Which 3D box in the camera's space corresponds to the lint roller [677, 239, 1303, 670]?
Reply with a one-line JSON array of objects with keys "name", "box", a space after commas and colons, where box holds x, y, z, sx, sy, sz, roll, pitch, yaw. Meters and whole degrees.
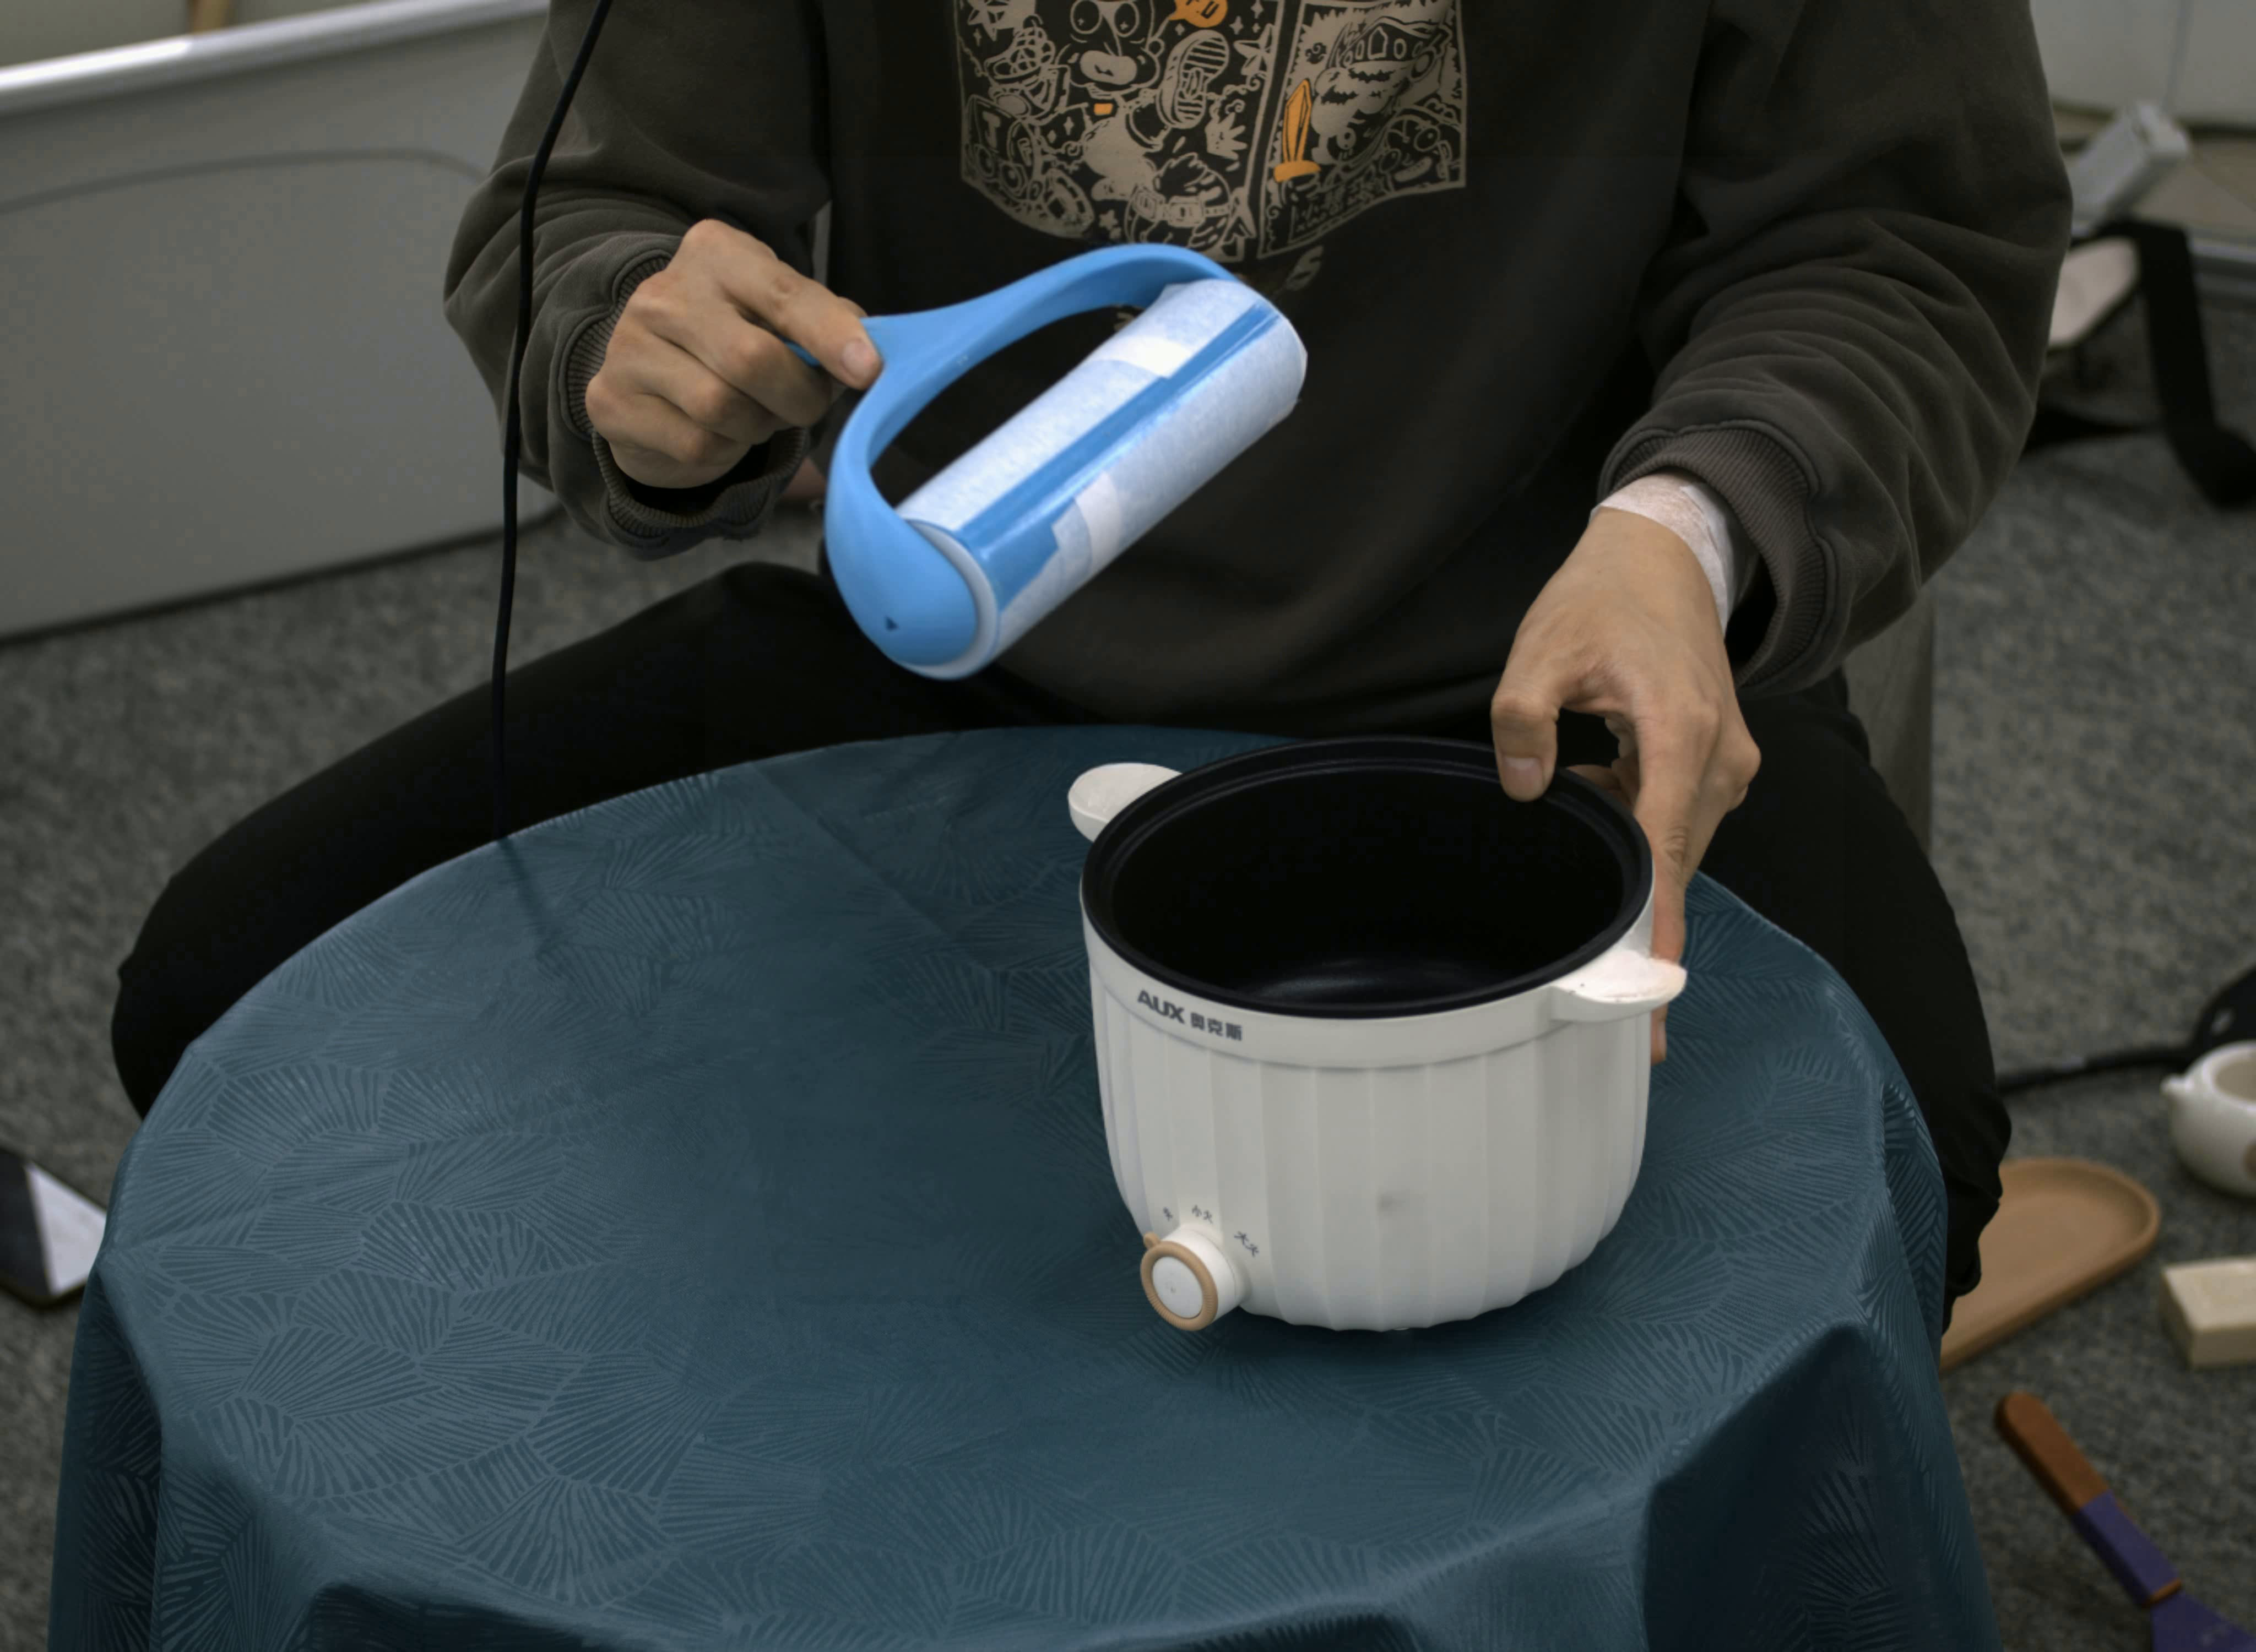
[{"name": "lint roller", "box": [-0.066, -0.129, 1.772, 0.179, 0.067, 0.233, 16, 35, 22]}]

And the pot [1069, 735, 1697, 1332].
[{"name": "pot", "box": [0.077, 0.073, 1.797, 0.239, 0.141, 0.193, 17, 30, 37]}]
